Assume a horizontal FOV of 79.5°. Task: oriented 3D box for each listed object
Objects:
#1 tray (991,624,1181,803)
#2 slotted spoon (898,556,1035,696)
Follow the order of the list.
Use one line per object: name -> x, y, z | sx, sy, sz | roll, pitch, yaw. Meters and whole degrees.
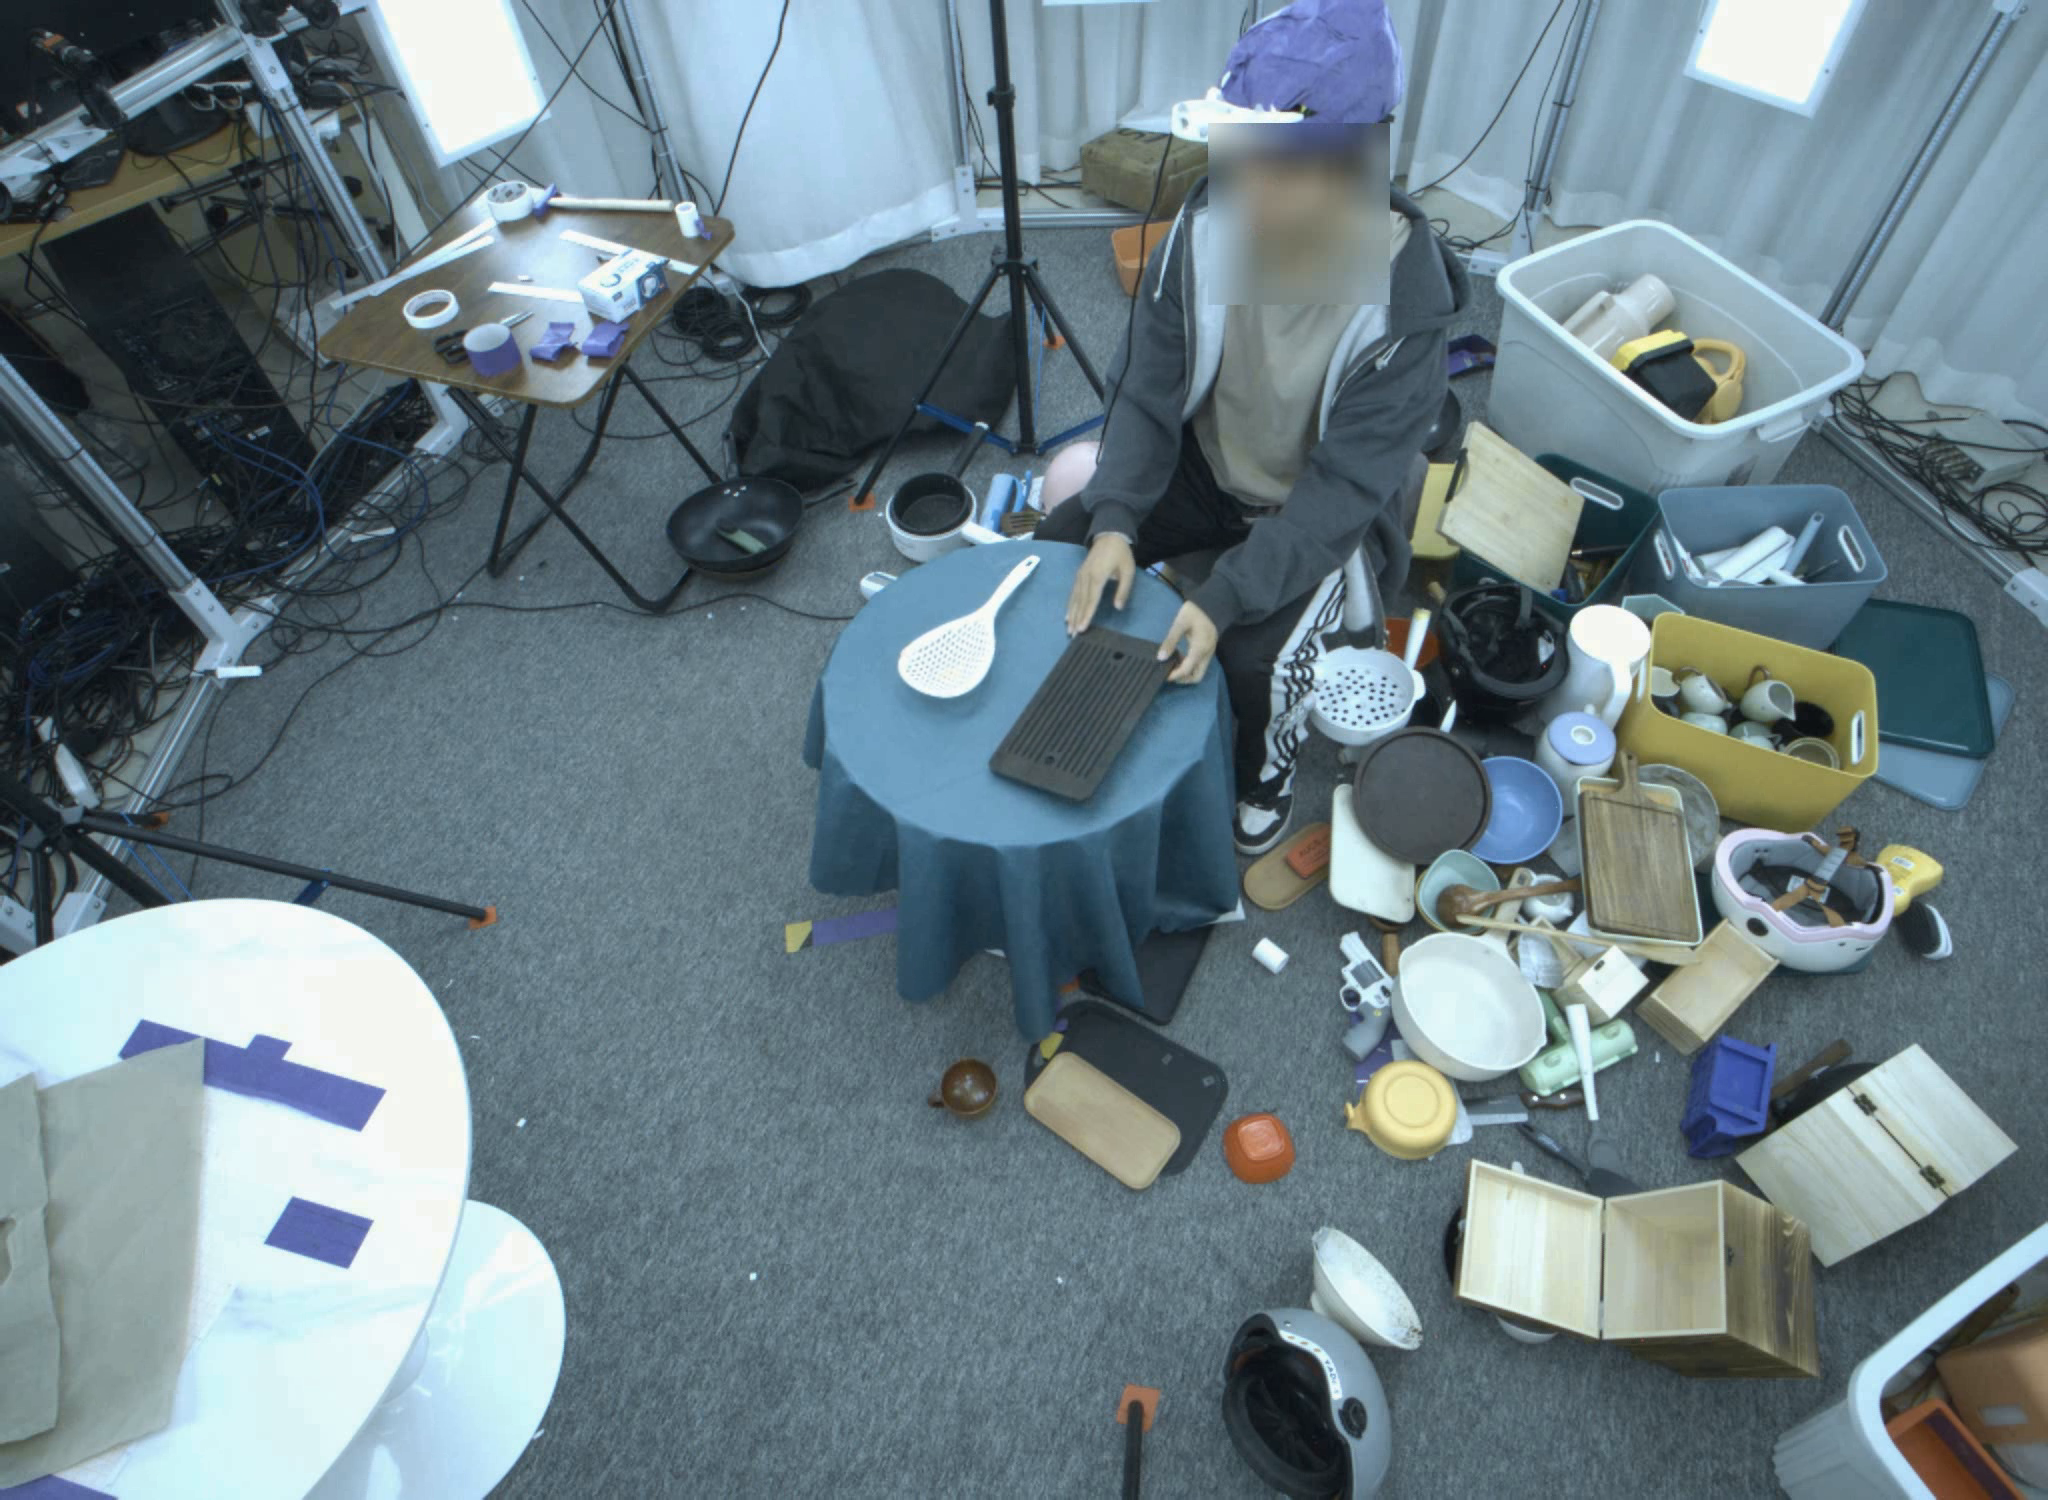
tray -> 0.094, -0.058, 1.801 | 0.167, 0.019, 0.306 | 19, 58, 24
slotted spoon -> -0.065, -0.202, 1.910 | 0.135, 0.051, 0.348 | 22, 58, 19
